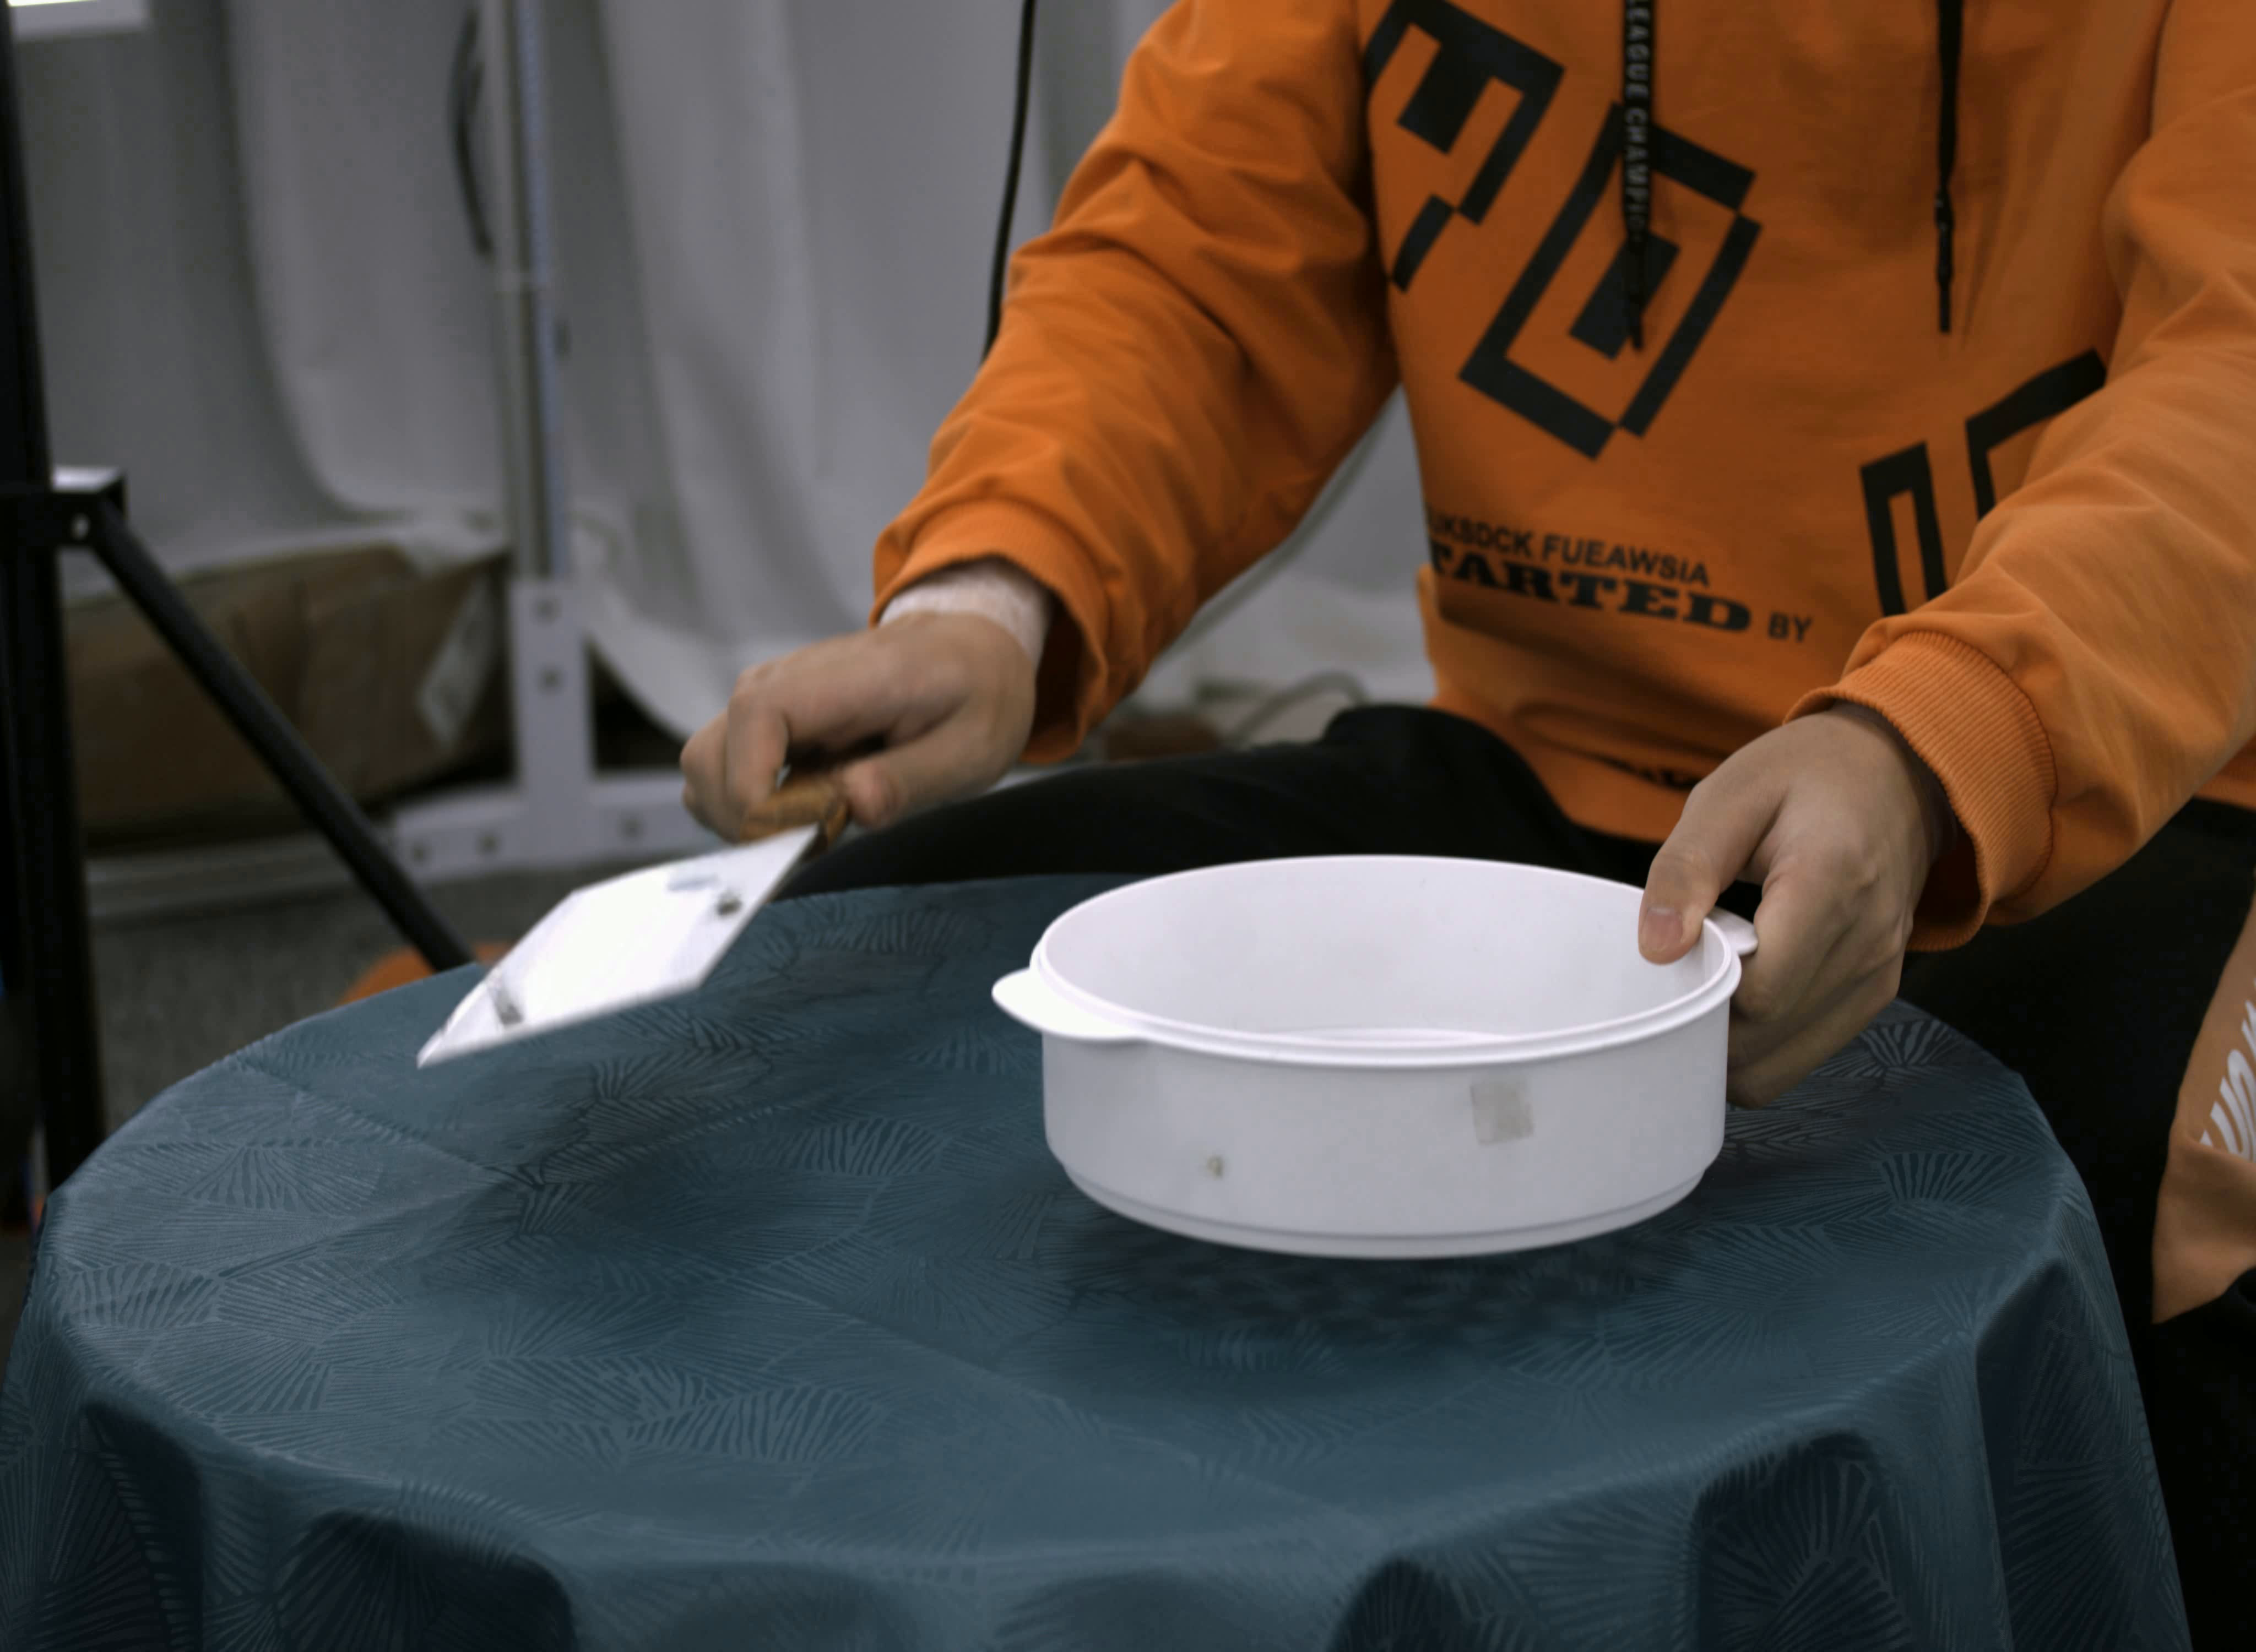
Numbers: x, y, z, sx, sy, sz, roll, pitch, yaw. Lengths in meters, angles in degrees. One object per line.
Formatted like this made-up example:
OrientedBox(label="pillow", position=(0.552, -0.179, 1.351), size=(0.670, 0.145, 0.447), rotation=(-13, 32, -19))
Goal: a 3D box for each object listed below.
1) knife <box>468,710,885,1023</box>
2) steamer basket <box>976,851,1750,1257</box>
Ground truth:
OrientedBox(label="knife", position=(-0.139, 0.014, 1.657), size=(0.093, 0.021, 0.304), rotation=(-18, 10, 12))
OrientedBox(label="steamer basket", position=(0.069, 0.064, 1.501), size=(0.226, 0.069, 0.206), rotation=(-8, 15, -23))
